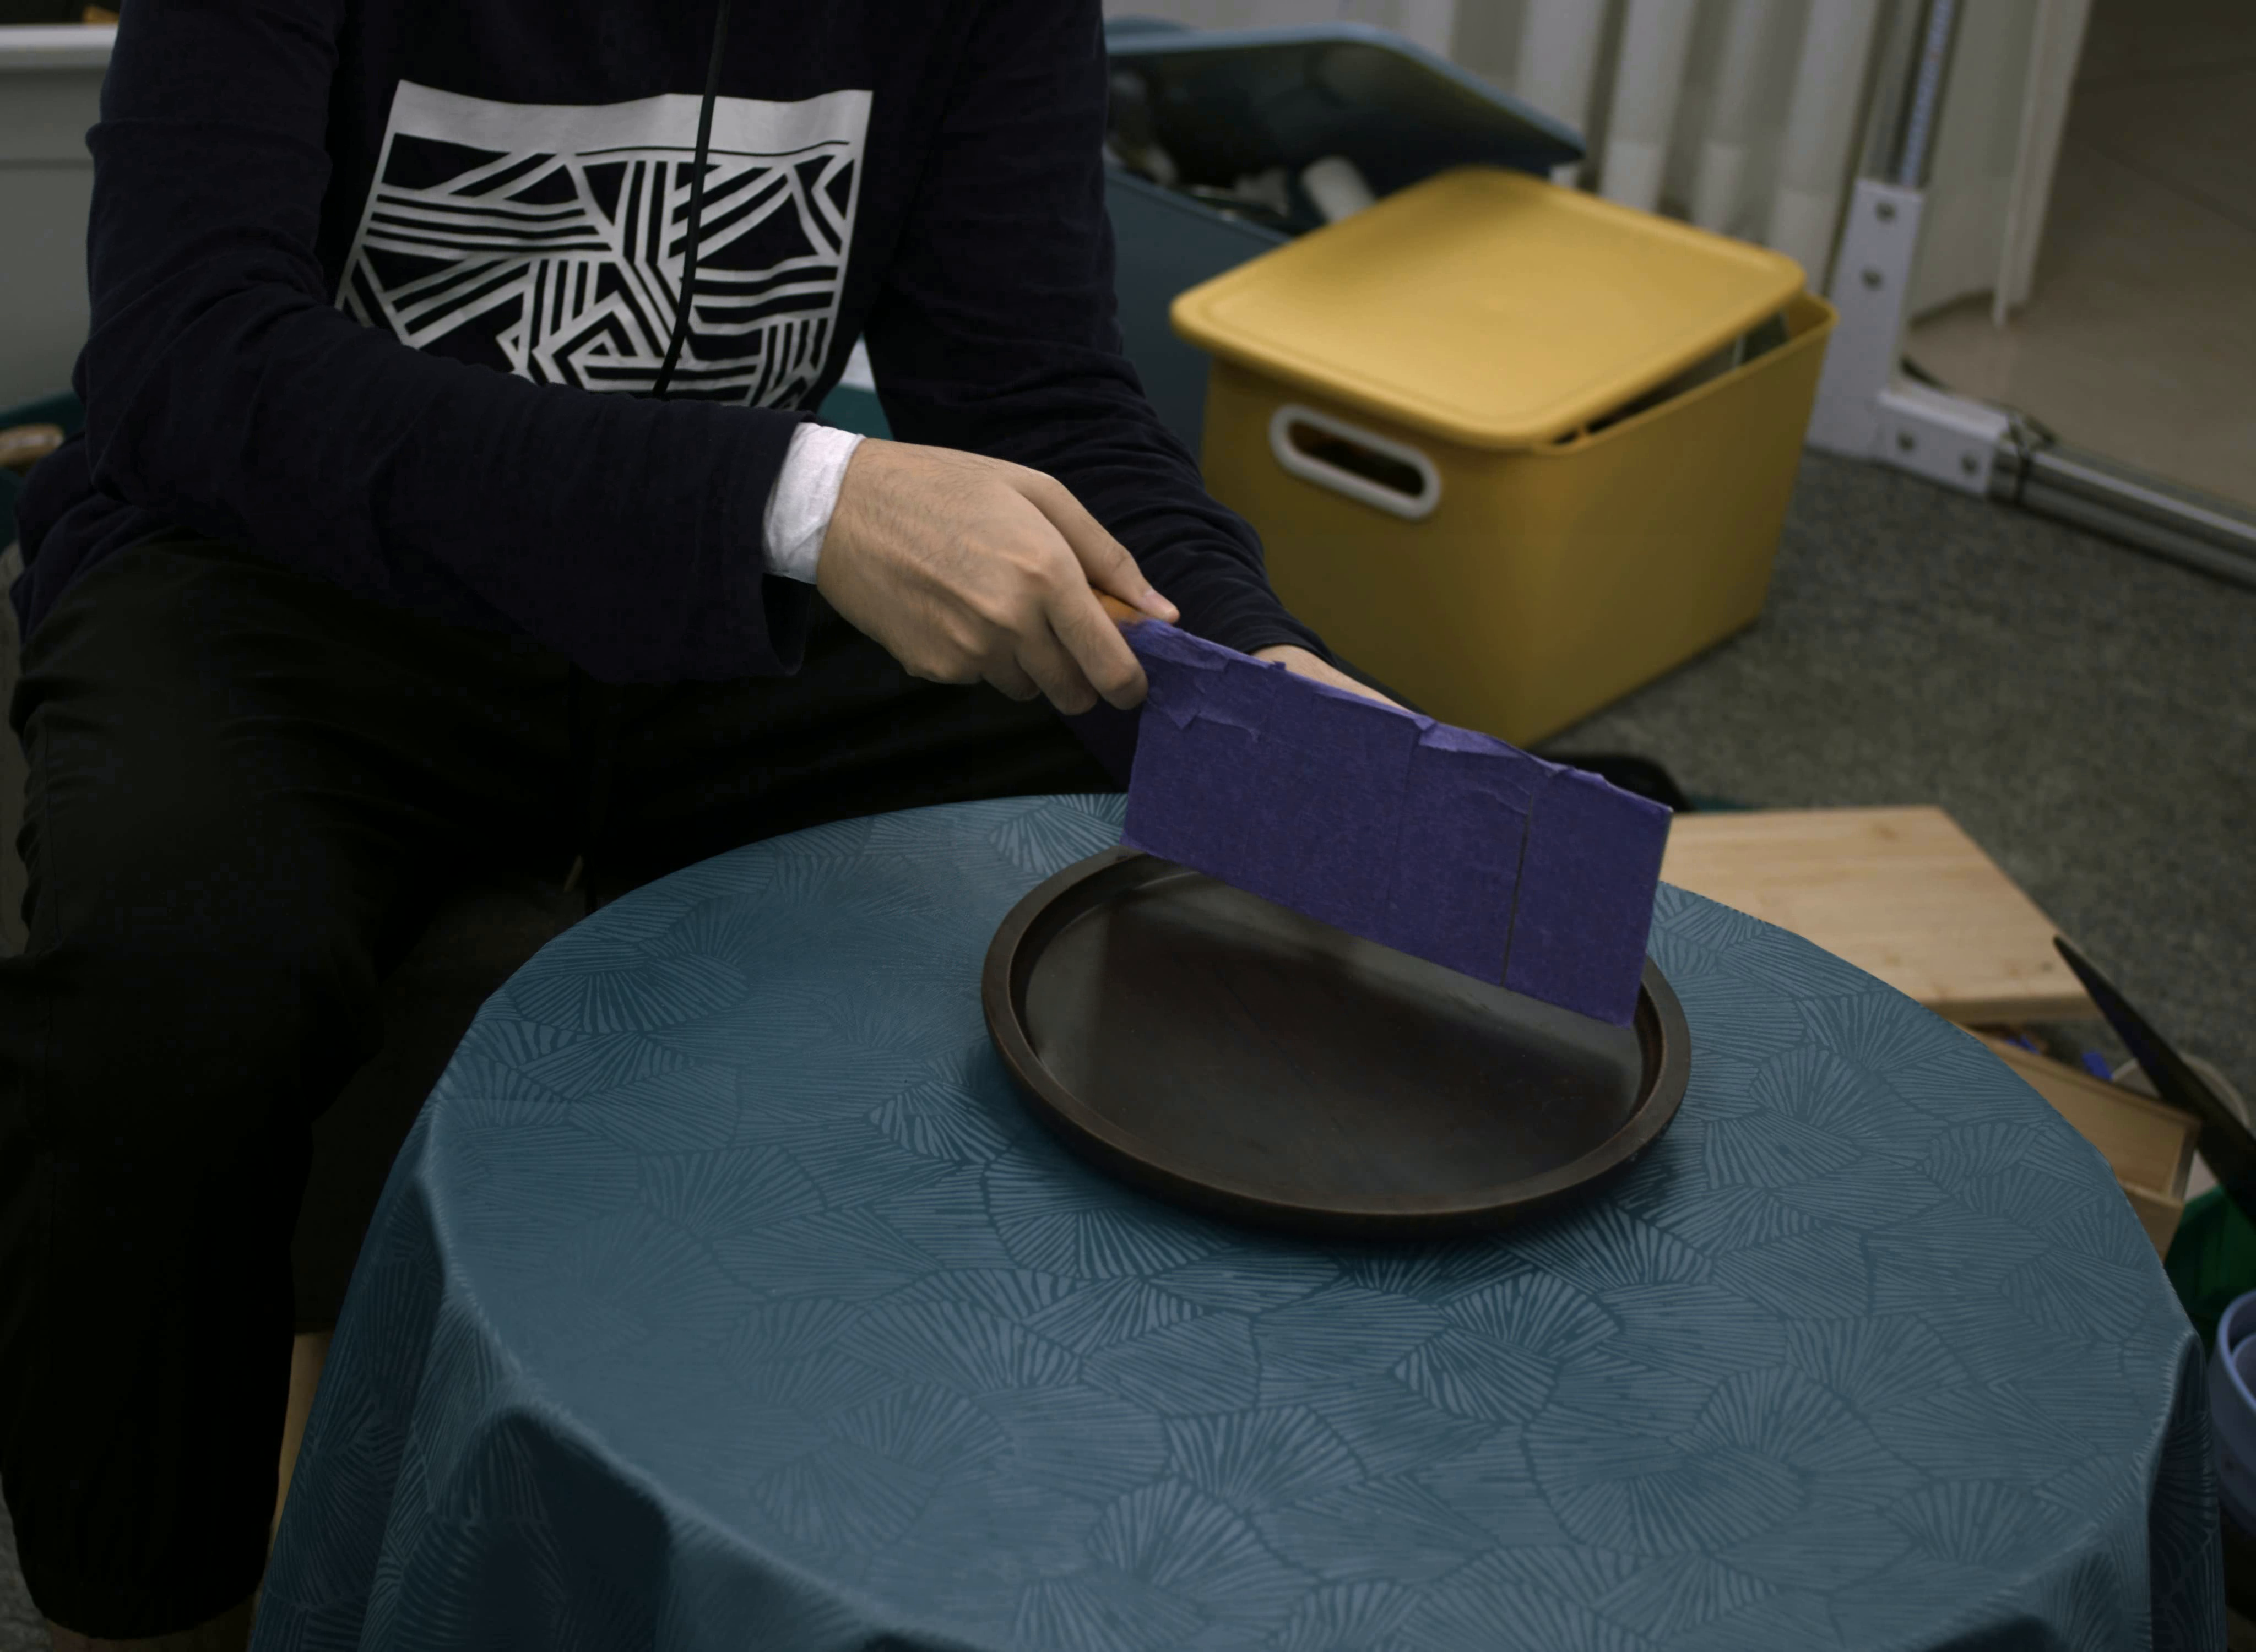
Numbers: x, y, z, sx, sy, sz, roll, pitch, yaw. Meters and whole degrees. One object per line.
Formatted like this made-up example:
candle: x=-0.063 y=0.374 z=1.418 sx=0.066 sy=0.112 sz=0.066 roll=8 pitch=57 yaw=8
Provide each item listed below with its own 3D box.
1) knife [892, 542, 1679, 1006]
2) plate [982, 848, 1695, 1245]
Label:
knife: x=0.049 y=-0.016 z=1.919 sx=0.317 sy=0.103 sz=0.032 roll=21 pitch=25 yaw=25
plate: x=0.073 y=0.073 z=1.881 sx=0.254 sy=0.029 sz=0.256 roll=5 pitch=31 yaw=-3
